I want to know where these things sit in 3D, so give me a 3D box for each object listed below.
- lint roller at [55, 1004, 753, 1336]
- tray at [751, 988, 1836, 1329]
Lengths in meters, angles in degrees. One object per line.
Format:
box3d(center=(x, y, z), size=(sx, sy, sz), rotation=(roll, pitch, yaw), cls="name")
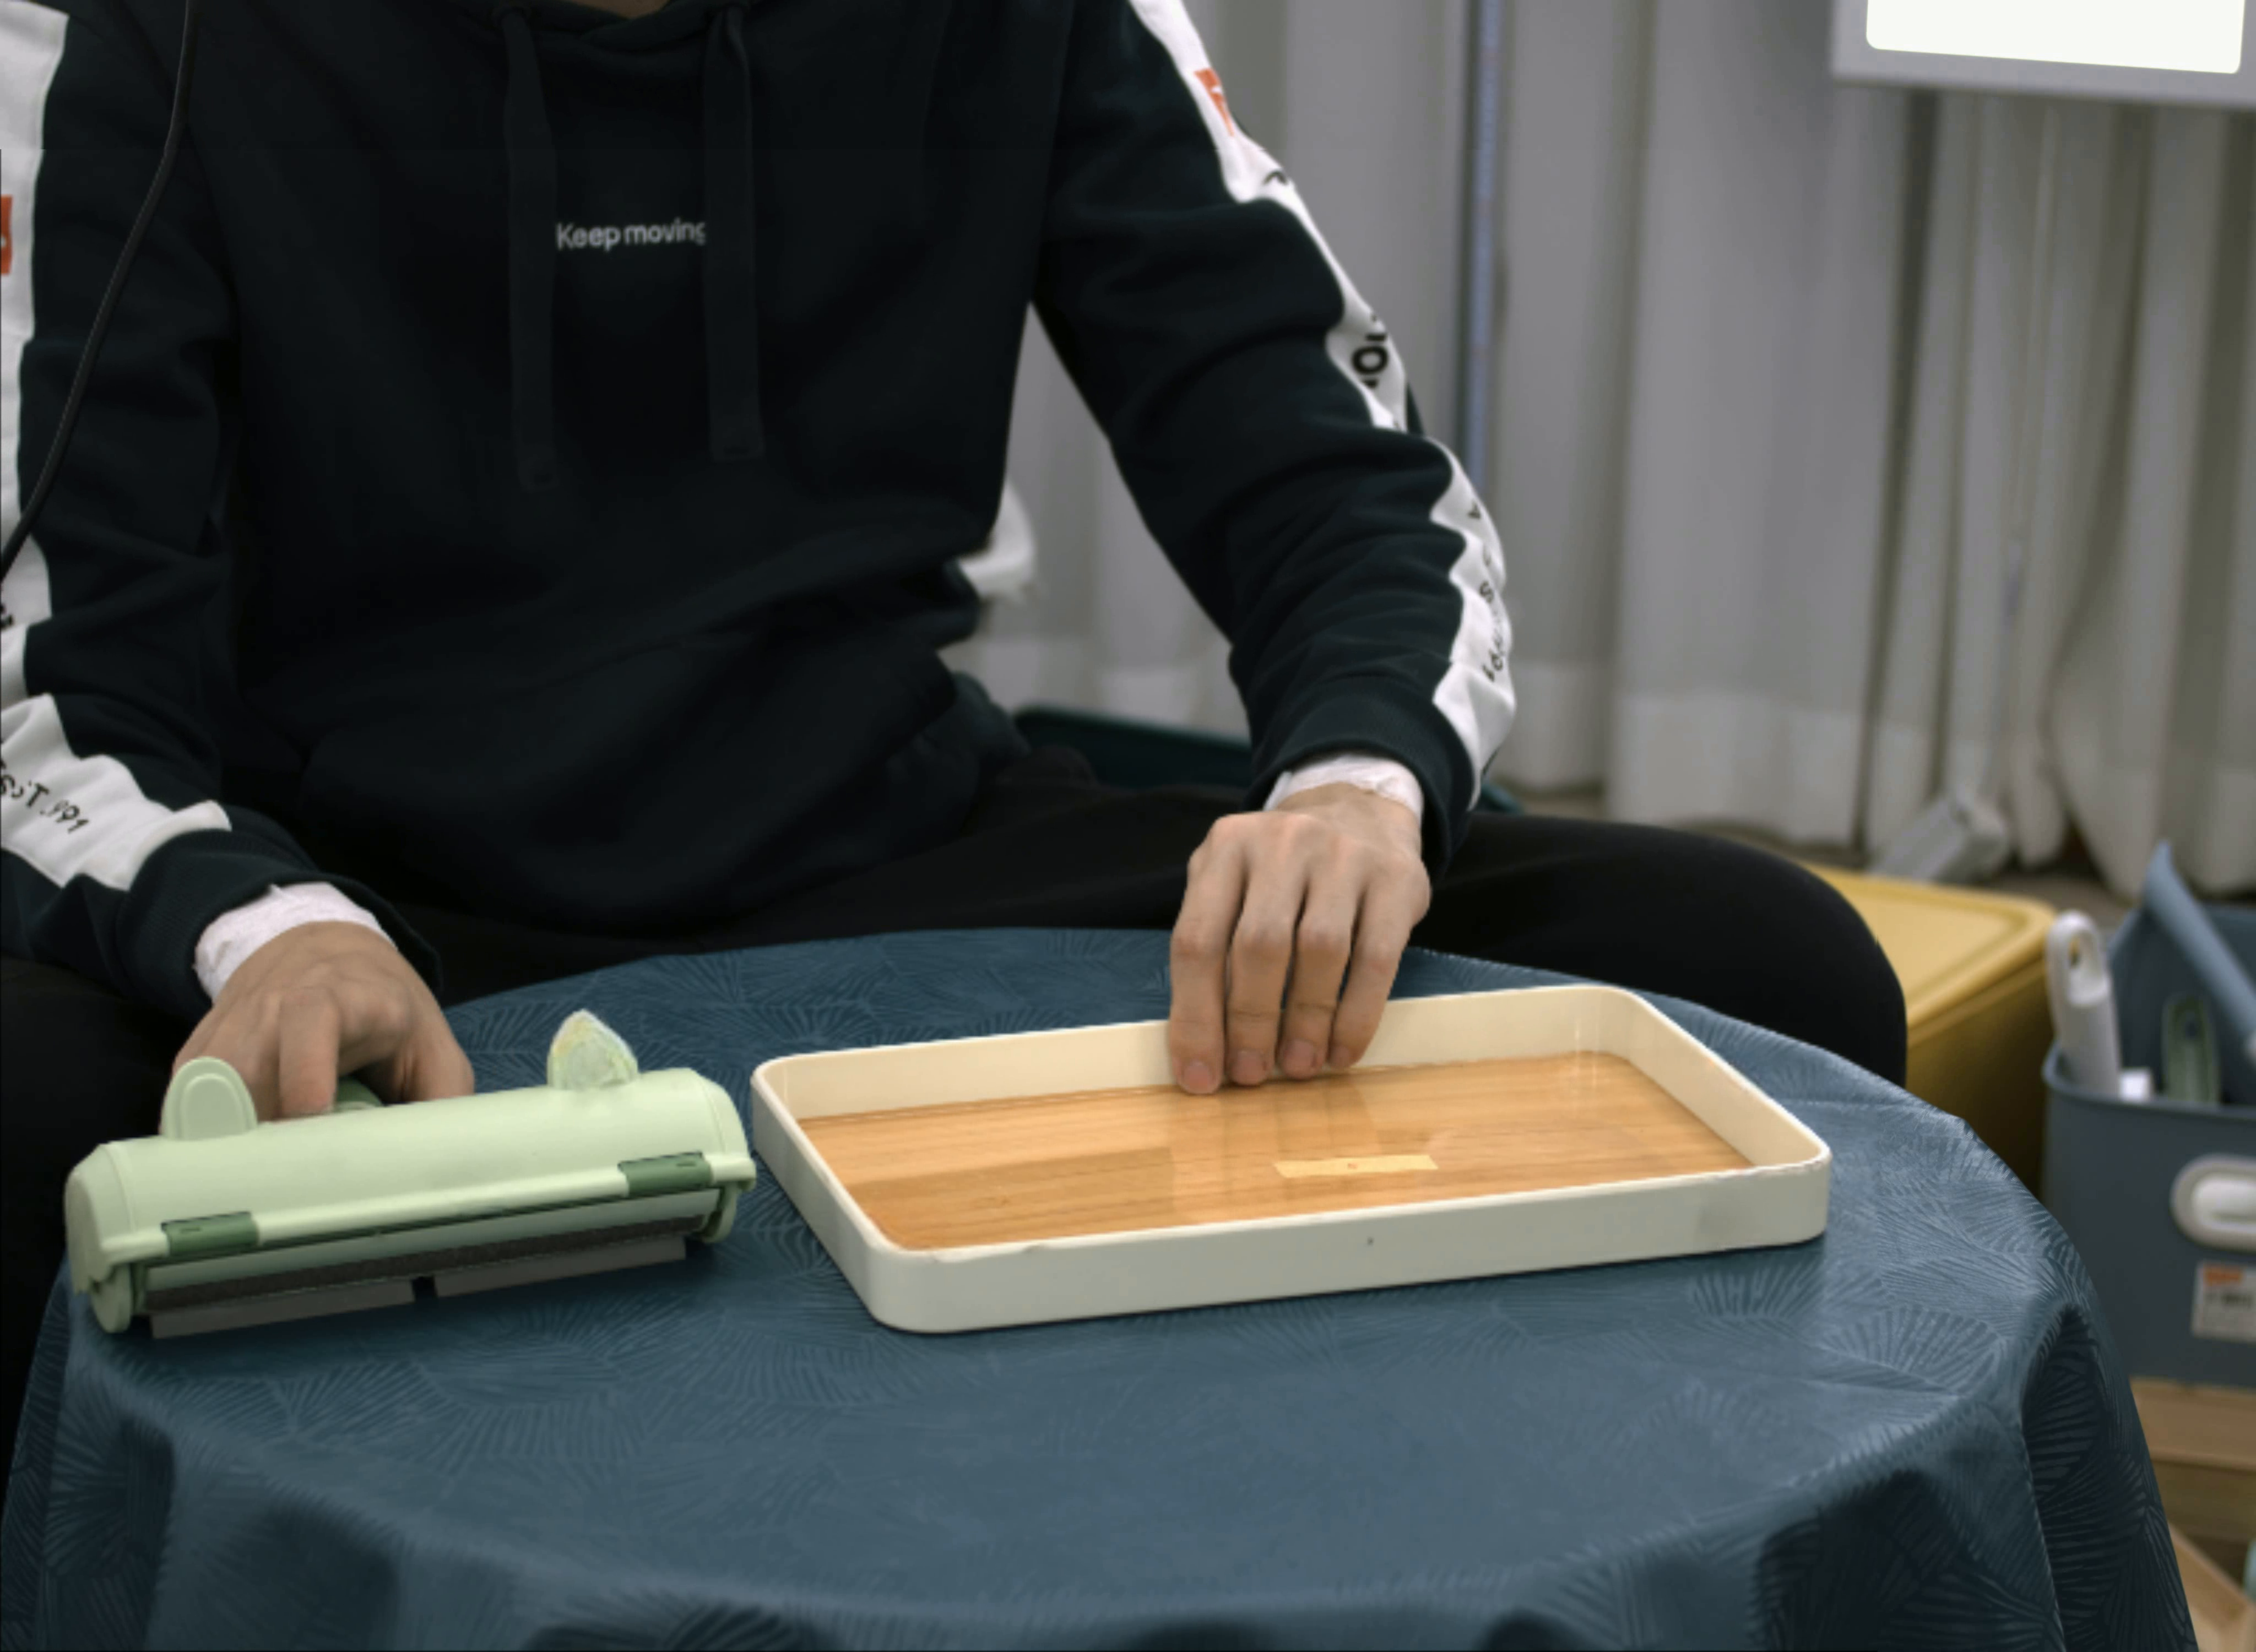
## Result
box3d(center=(-0.231, 0.083, 1.570), size=(0.199, 0.083, 0.181), rotation=(-7, 22, -23), cls="lint roller")
box3d(center=(0.047, 0.099, 1.618), size=(0.301, 0.027, 0.189), rotation=(-4, 16, -17), cls="tray")
